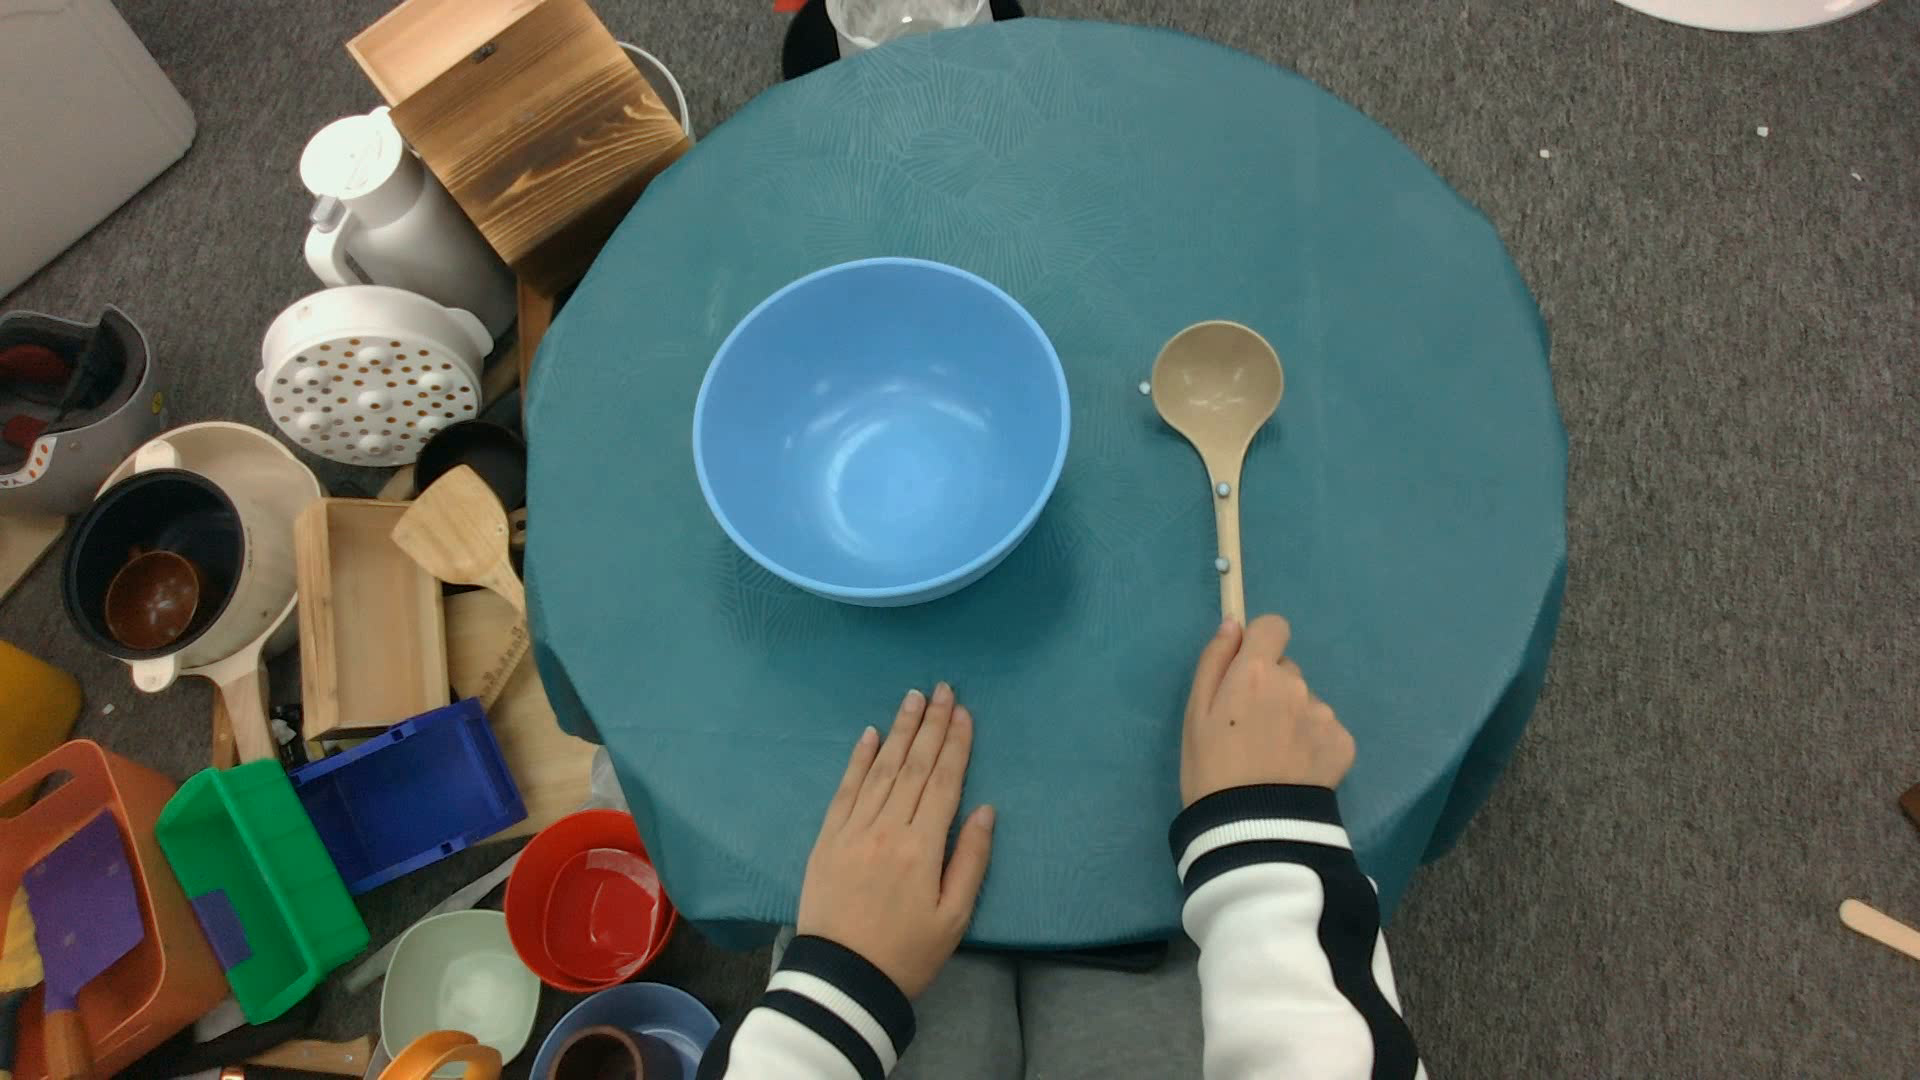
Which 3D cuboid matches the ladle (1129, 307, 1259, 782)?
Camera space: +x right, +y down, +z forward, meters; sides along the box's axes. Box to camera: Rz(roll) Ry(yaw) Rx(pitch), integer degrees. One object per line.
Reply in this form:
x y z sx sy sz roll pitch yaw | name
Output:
0.132 -0.007 0.722 0.072 0.072 0.255 -6 63 10 | ladle

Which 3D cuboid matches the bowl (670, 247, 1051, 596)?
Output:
-0.050 -0.051 0.751 0.196 0.095 0.197 0 68 1 | bowl
